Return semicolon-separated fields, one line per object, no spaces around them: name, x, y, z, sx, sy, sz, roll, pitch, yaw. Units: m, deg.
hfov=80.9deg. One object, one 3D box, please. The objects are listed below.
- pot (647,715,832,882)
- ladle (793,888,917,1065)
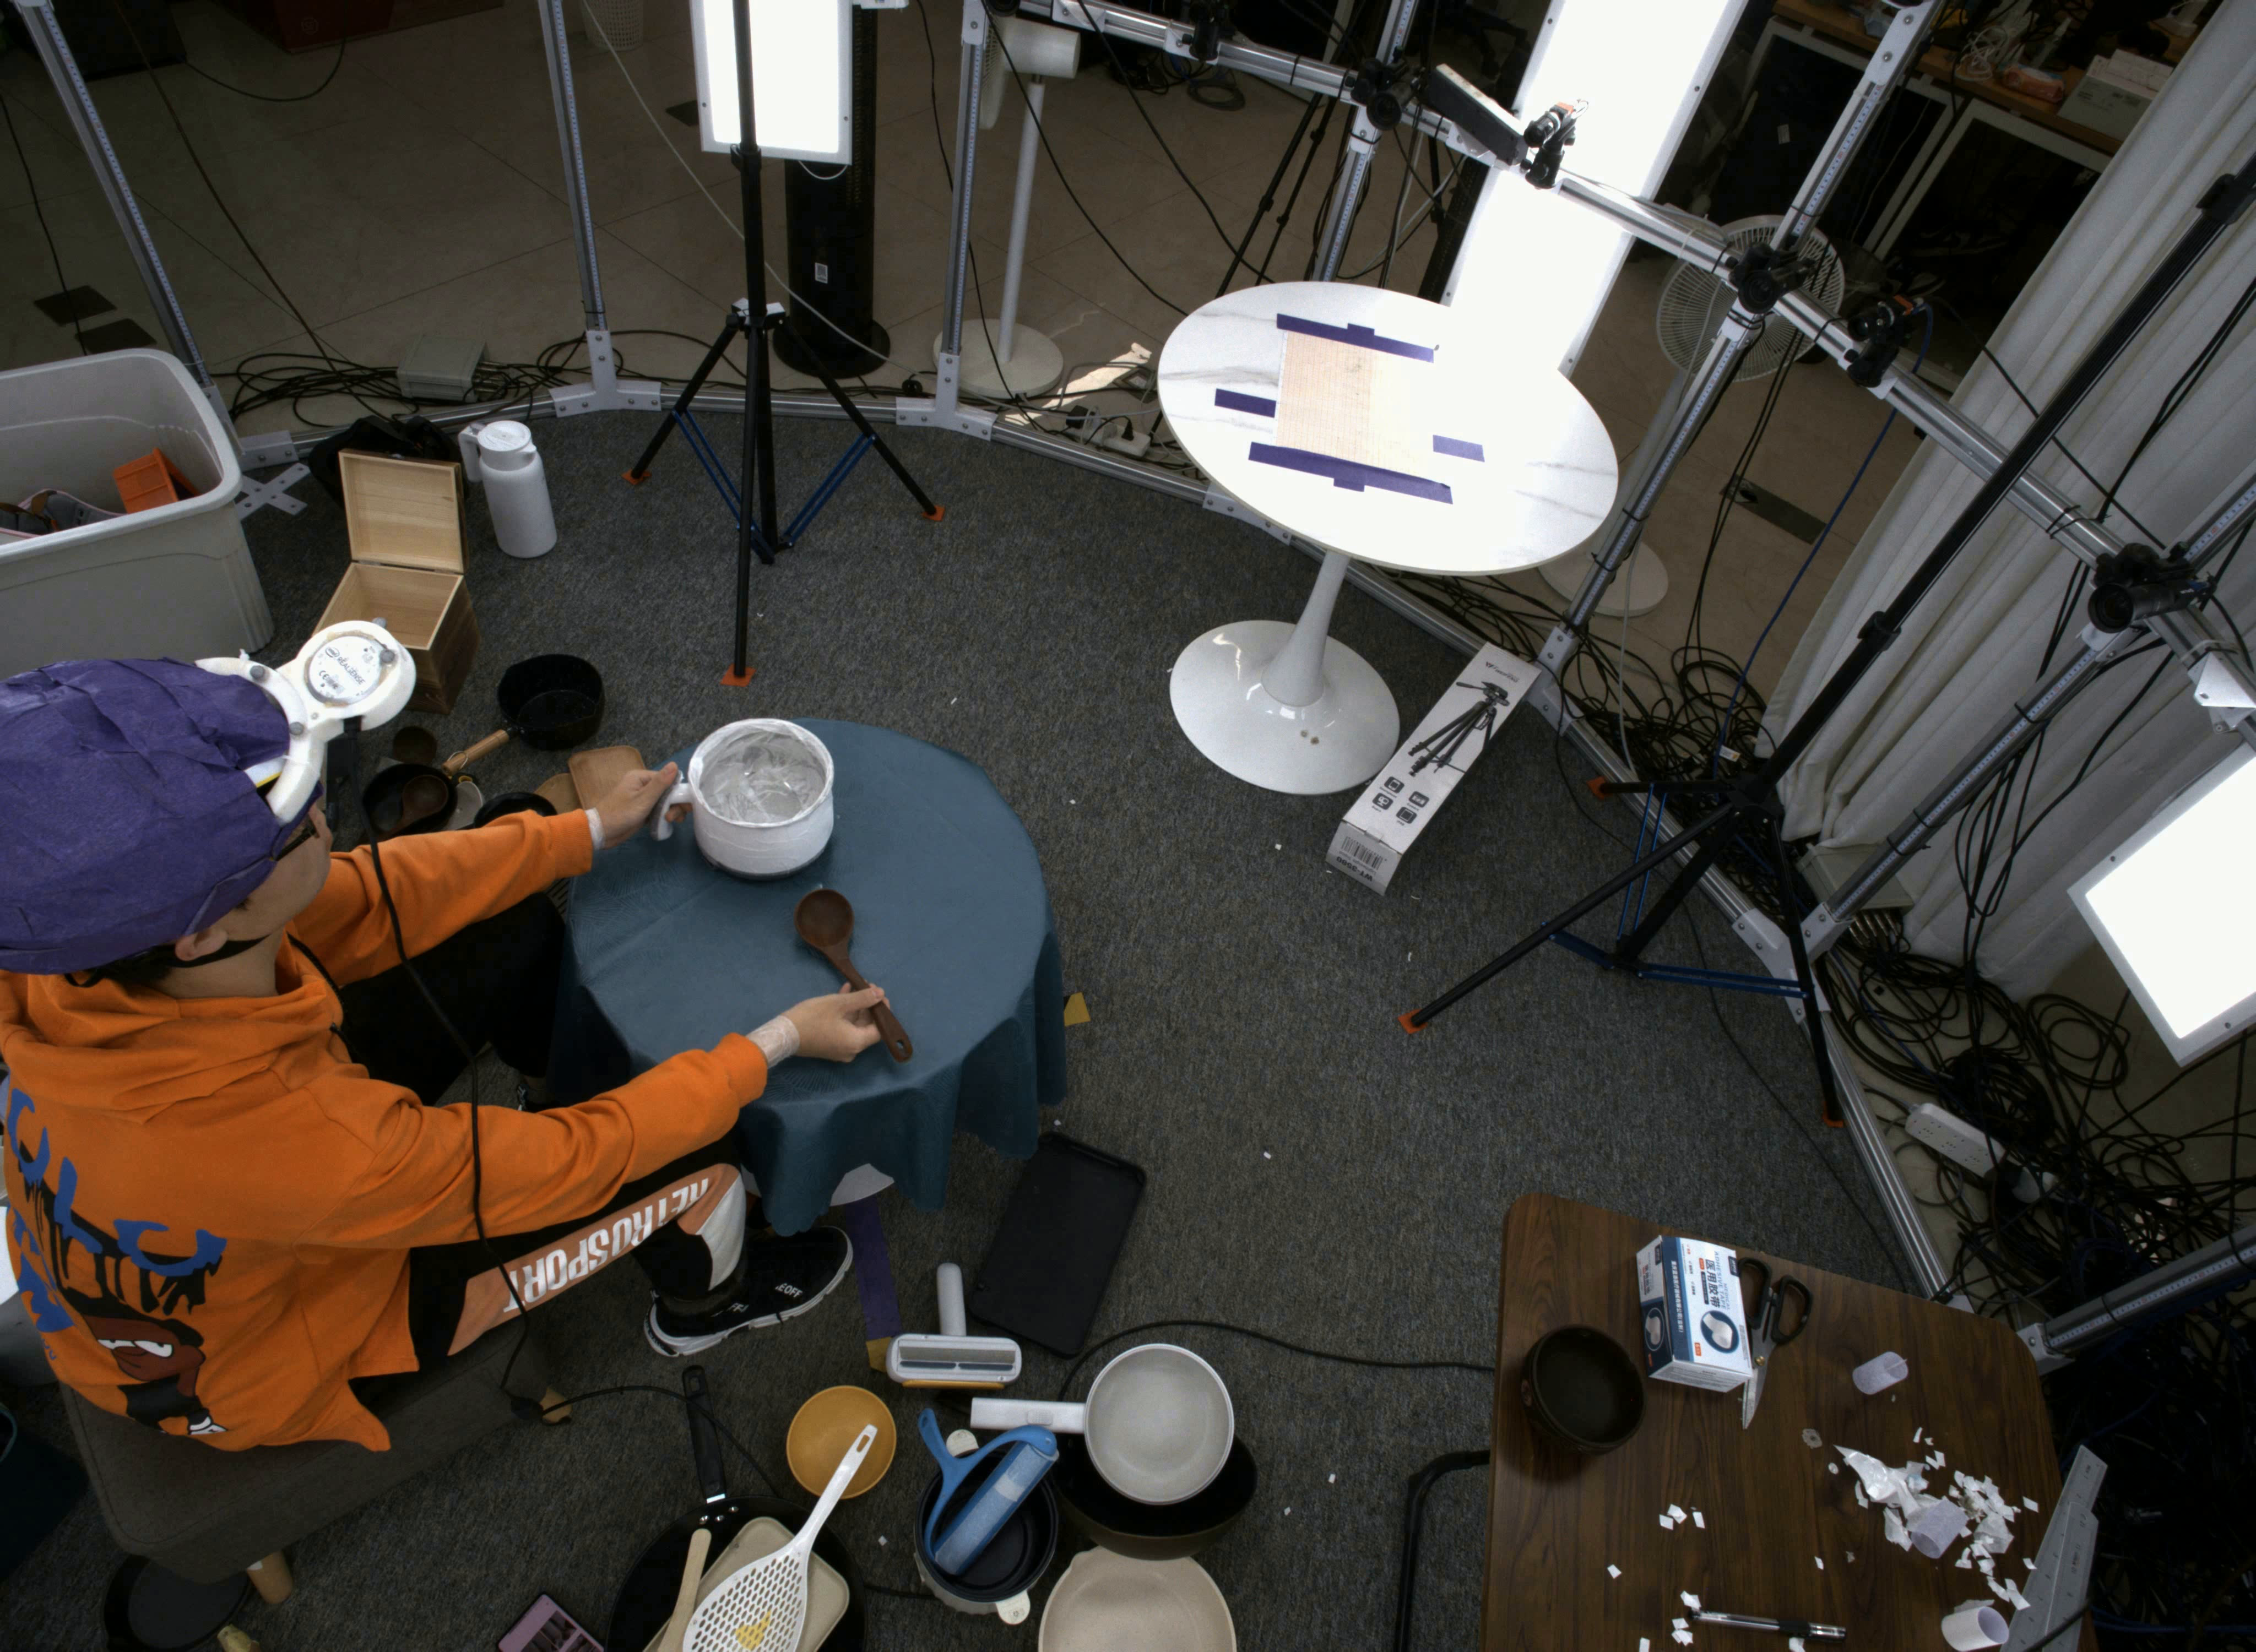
pot;-0.491;-0.029;1.629;0.234;0.139;0.174;-5;54;-18
ladle;-0.322;0.174;1.555;0.077;0.067;0.252;-24;53;-27
